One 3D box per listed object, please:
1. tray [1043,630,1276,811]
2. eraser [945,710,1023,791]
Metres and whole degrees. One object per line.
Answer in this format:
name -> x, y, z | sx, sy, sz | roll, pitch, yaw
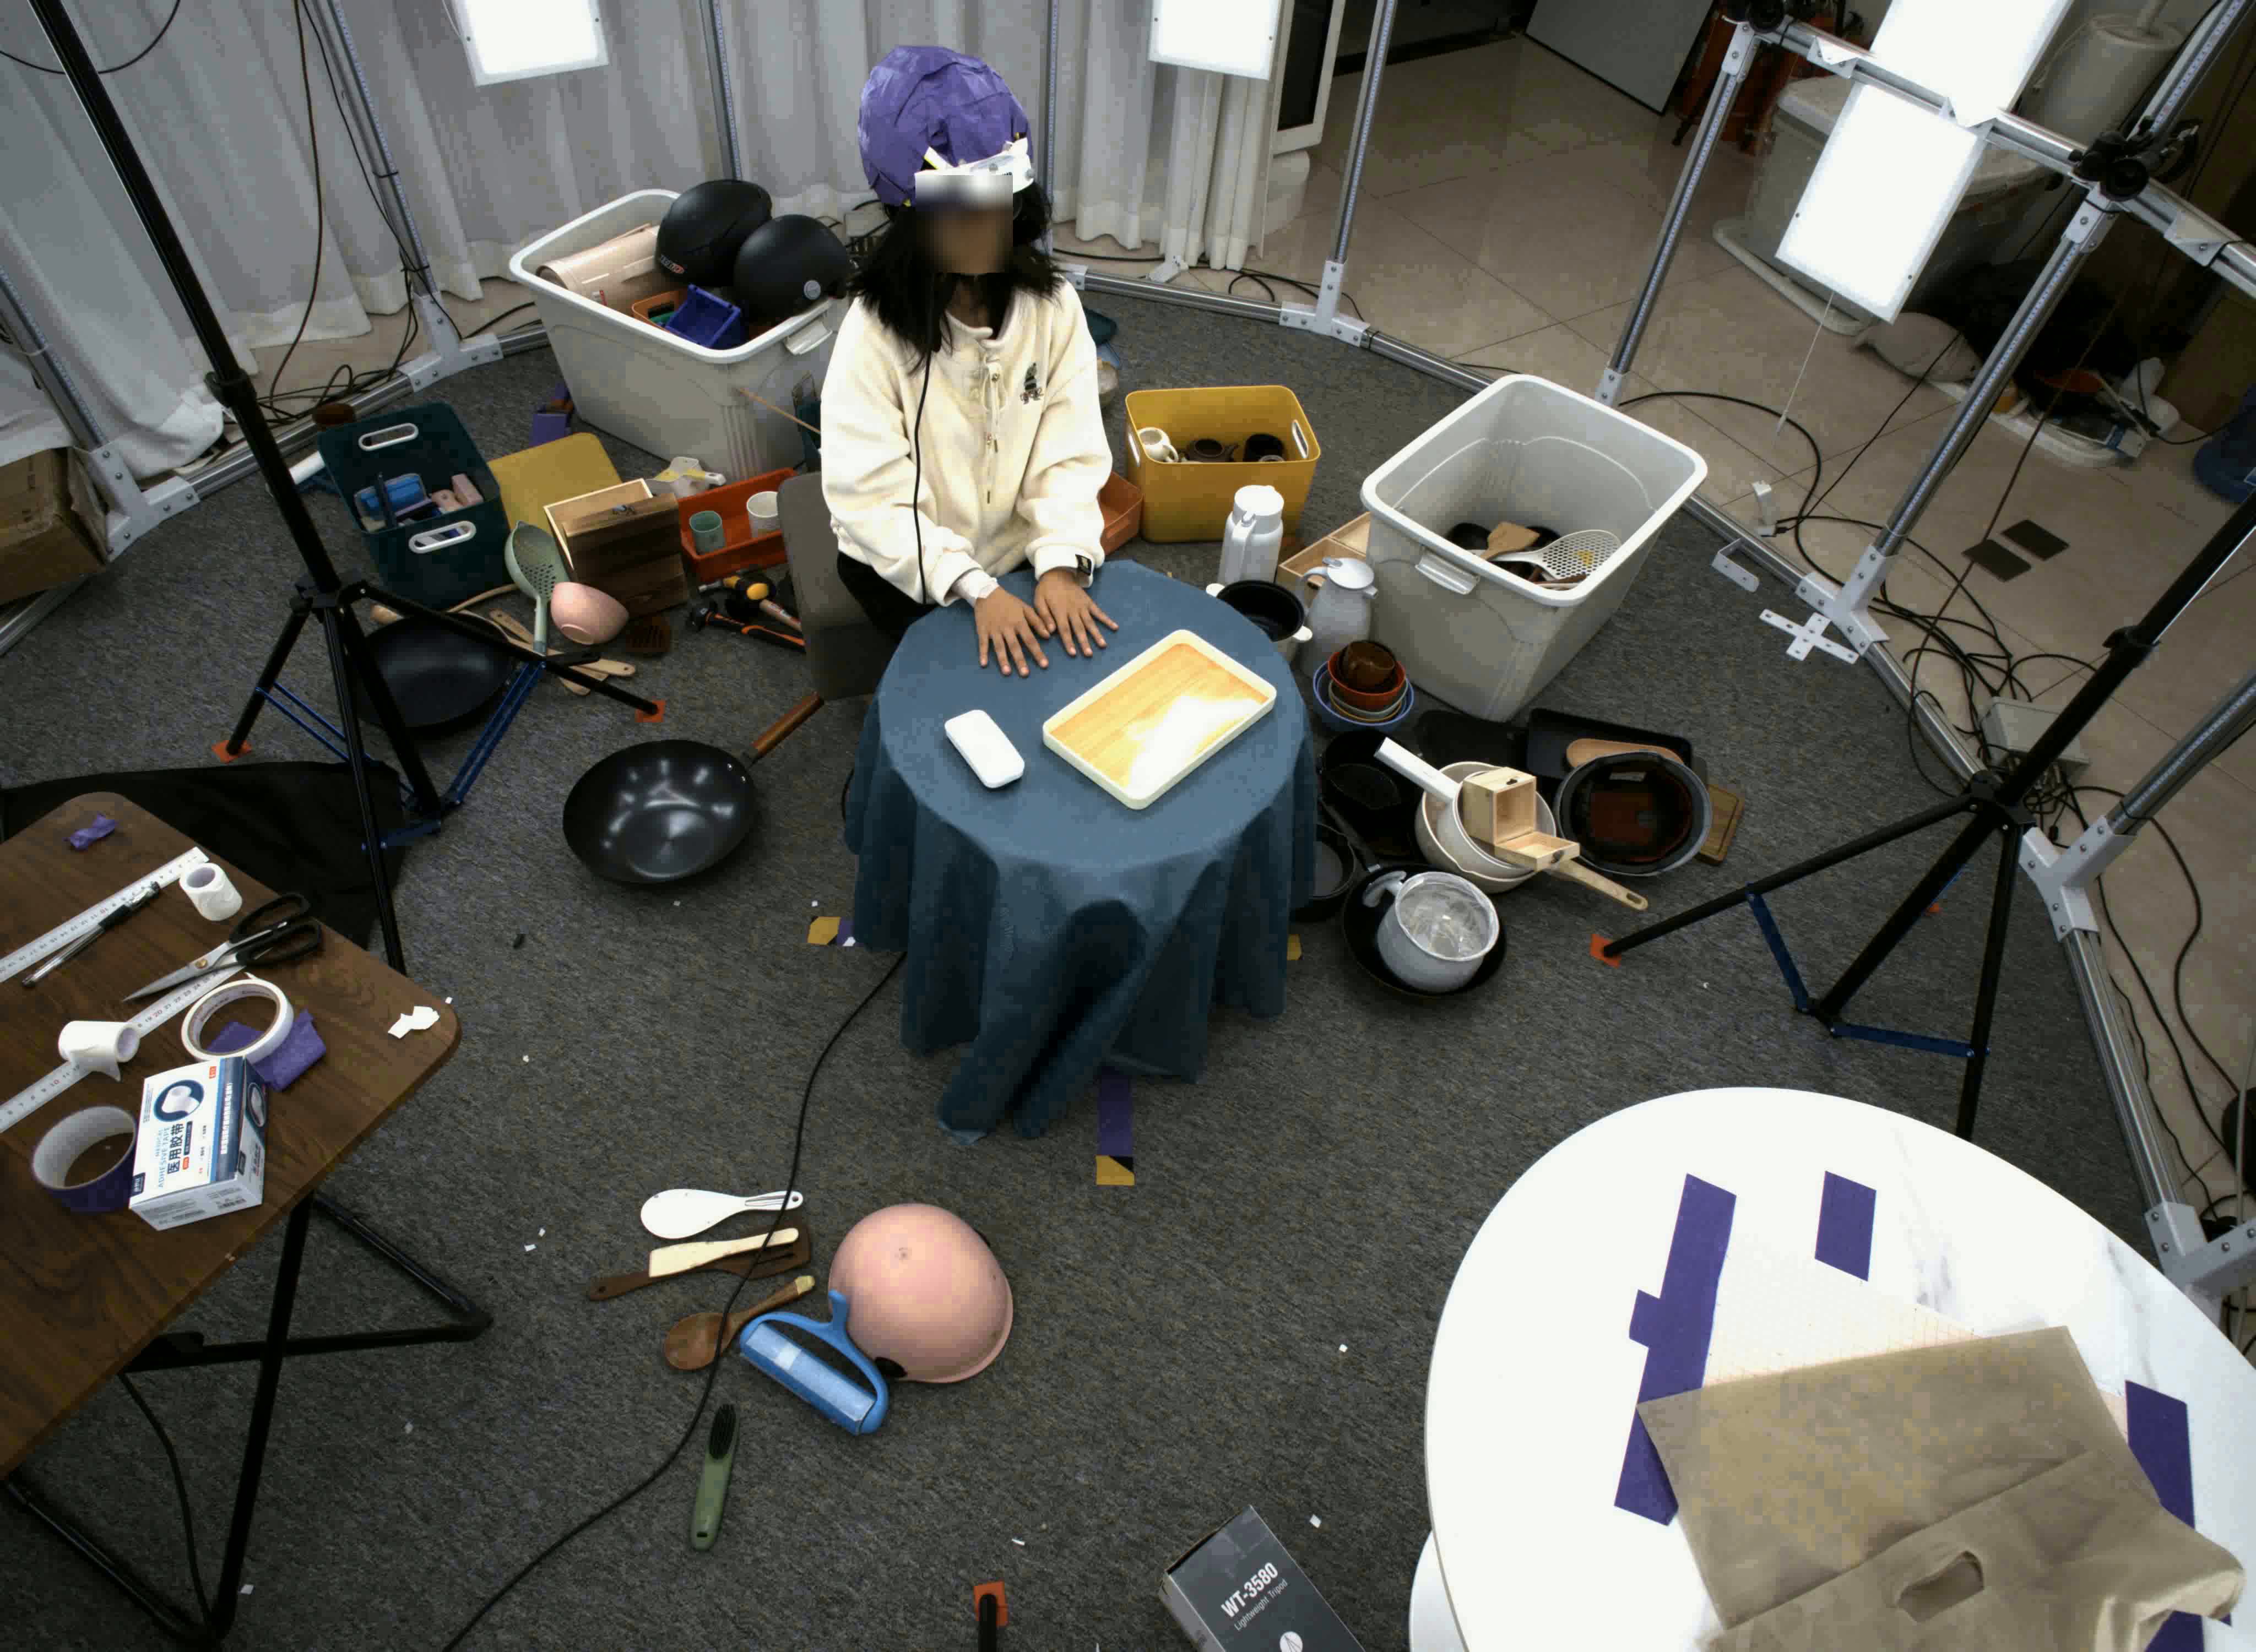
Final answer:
tray -> 0.047, -0.153, 1.789 | 0.194, 0.027, 0.303 | 37, 57, 25
eraser -> -0.193, -0.105, 1.728 | 0.063, 0.034, 0.134 | -23, 55, -21
